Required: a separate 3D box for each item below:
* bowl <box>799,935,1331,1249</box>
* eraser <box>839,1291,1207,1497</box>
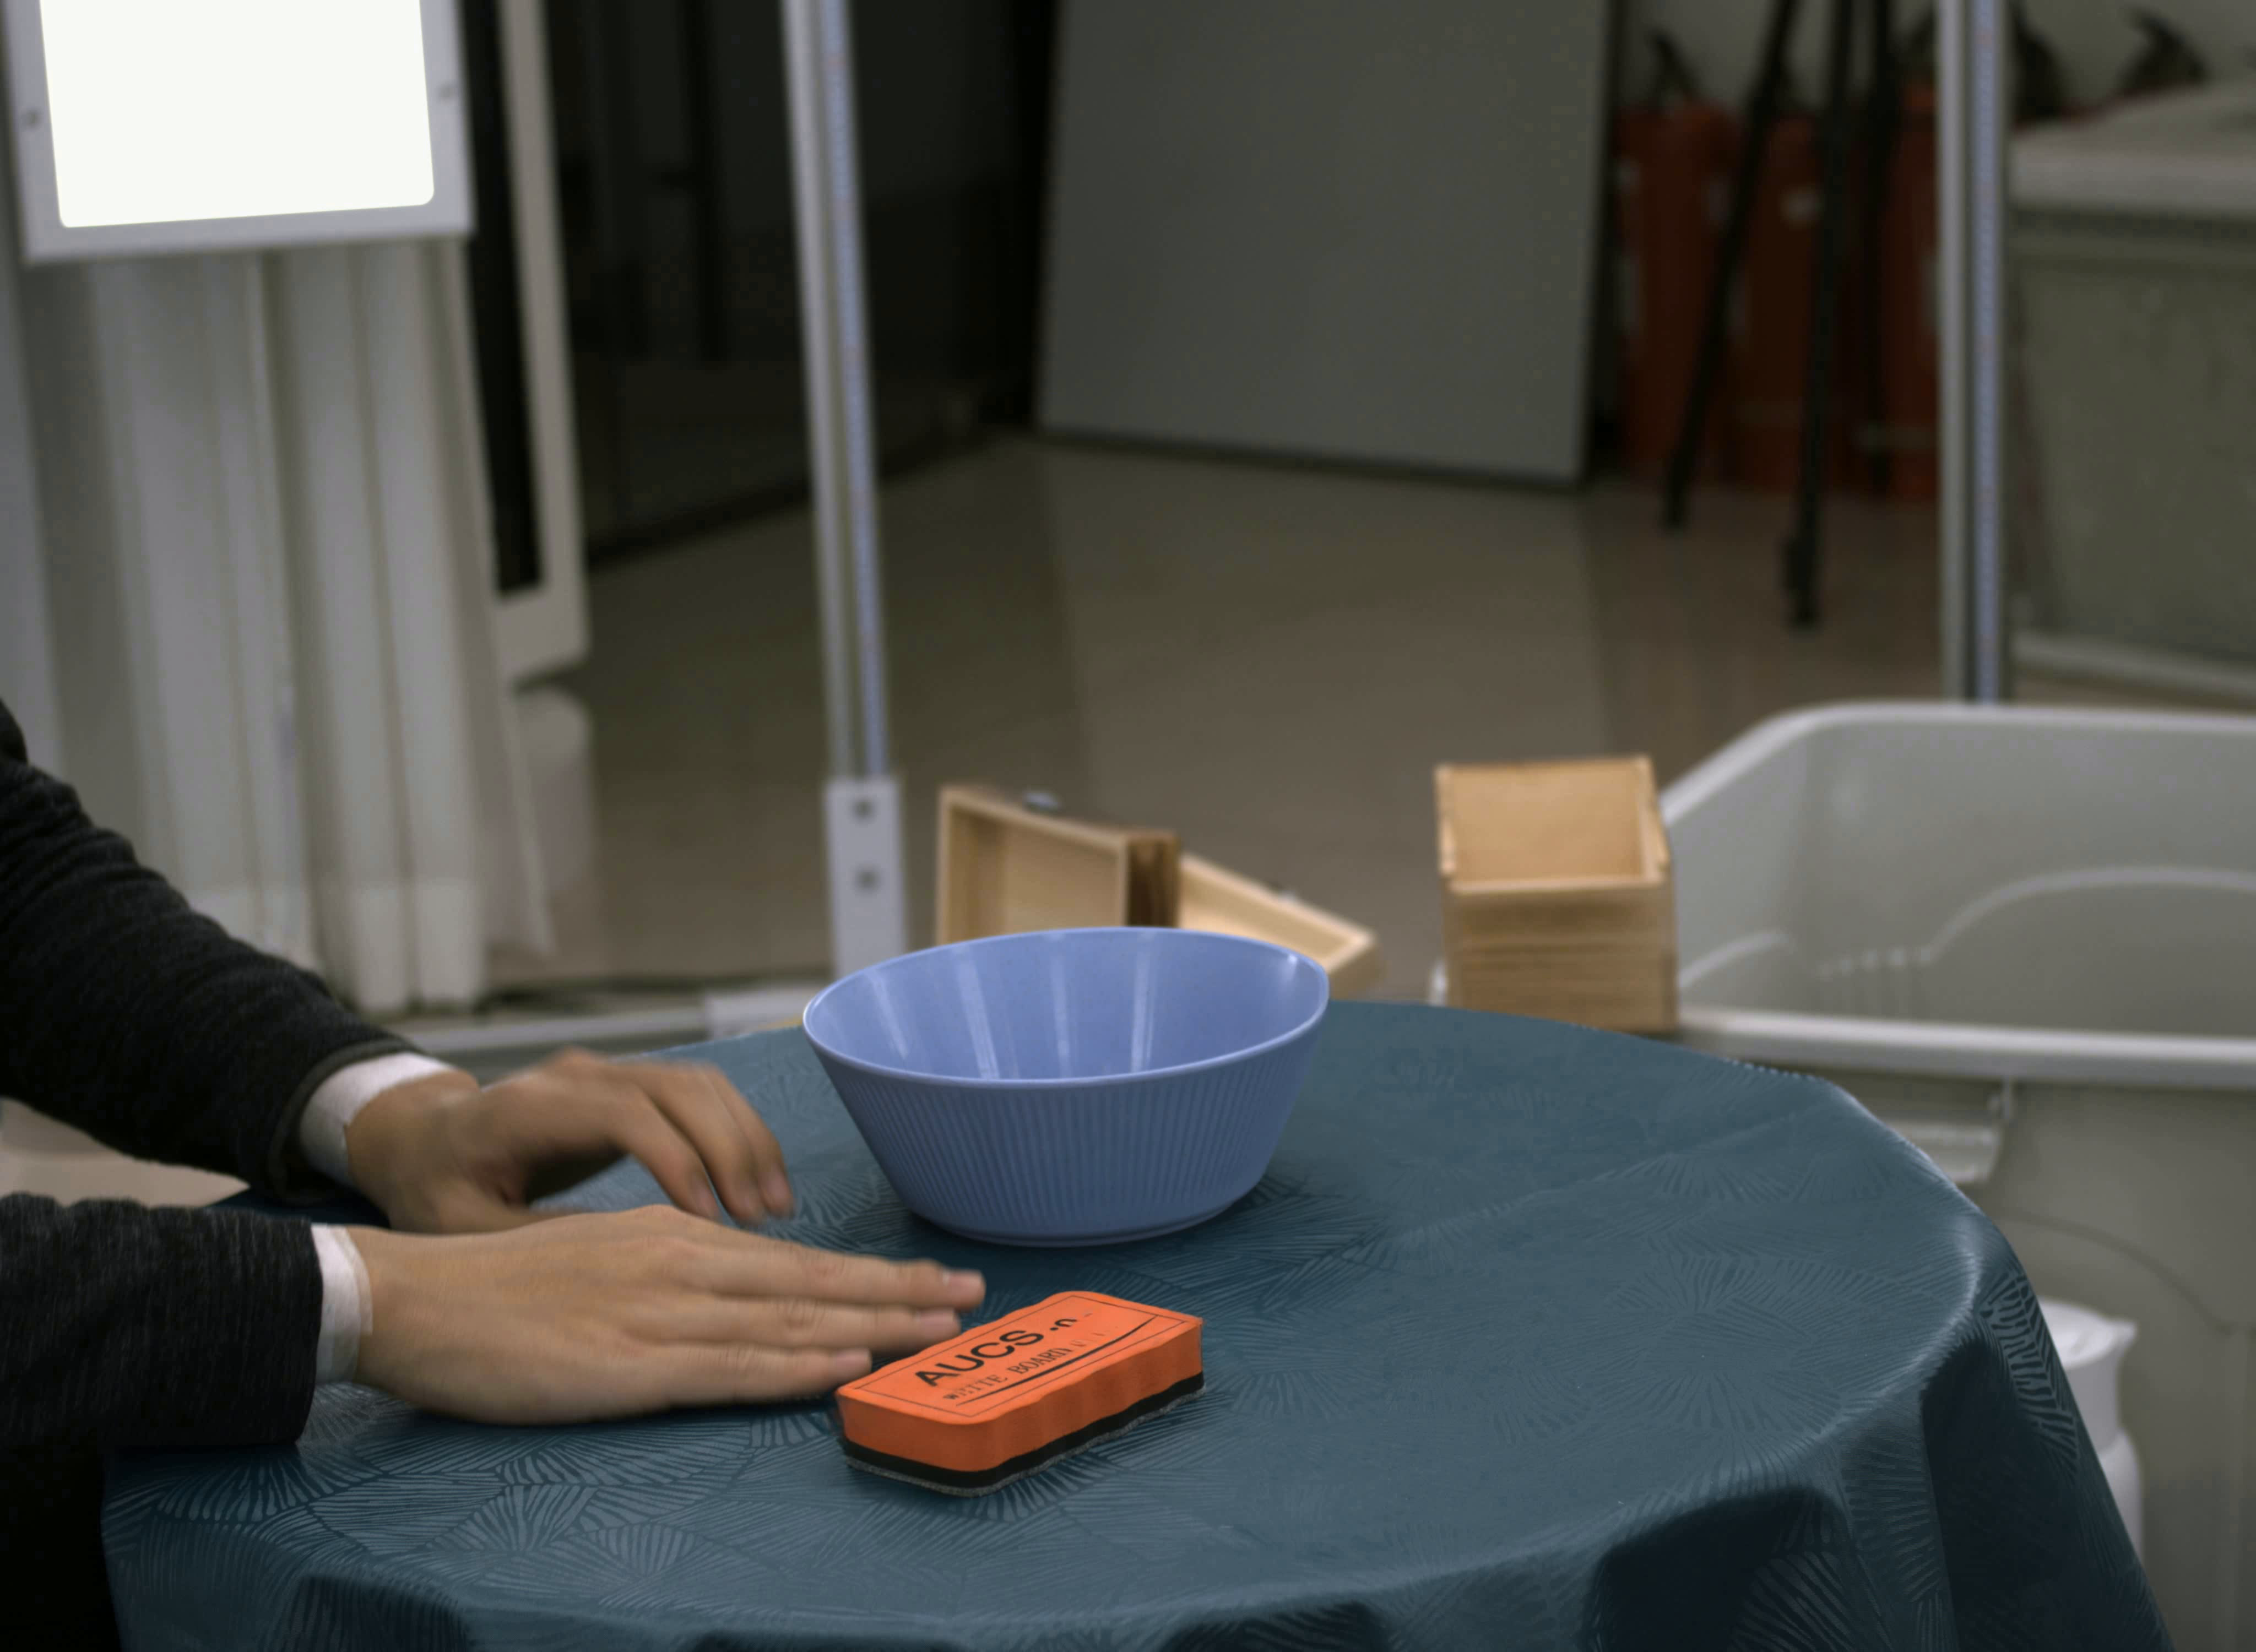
[{"bbox_3d":[-0.019,0.089,1.761,0.174,0.071,0.176,-4,14,0],"label":"bowl"},{"bbox_3d":[-0.029,0.163,1.558,0.059,0.023,0.106,10,20,41],"label":"eraser"}]
